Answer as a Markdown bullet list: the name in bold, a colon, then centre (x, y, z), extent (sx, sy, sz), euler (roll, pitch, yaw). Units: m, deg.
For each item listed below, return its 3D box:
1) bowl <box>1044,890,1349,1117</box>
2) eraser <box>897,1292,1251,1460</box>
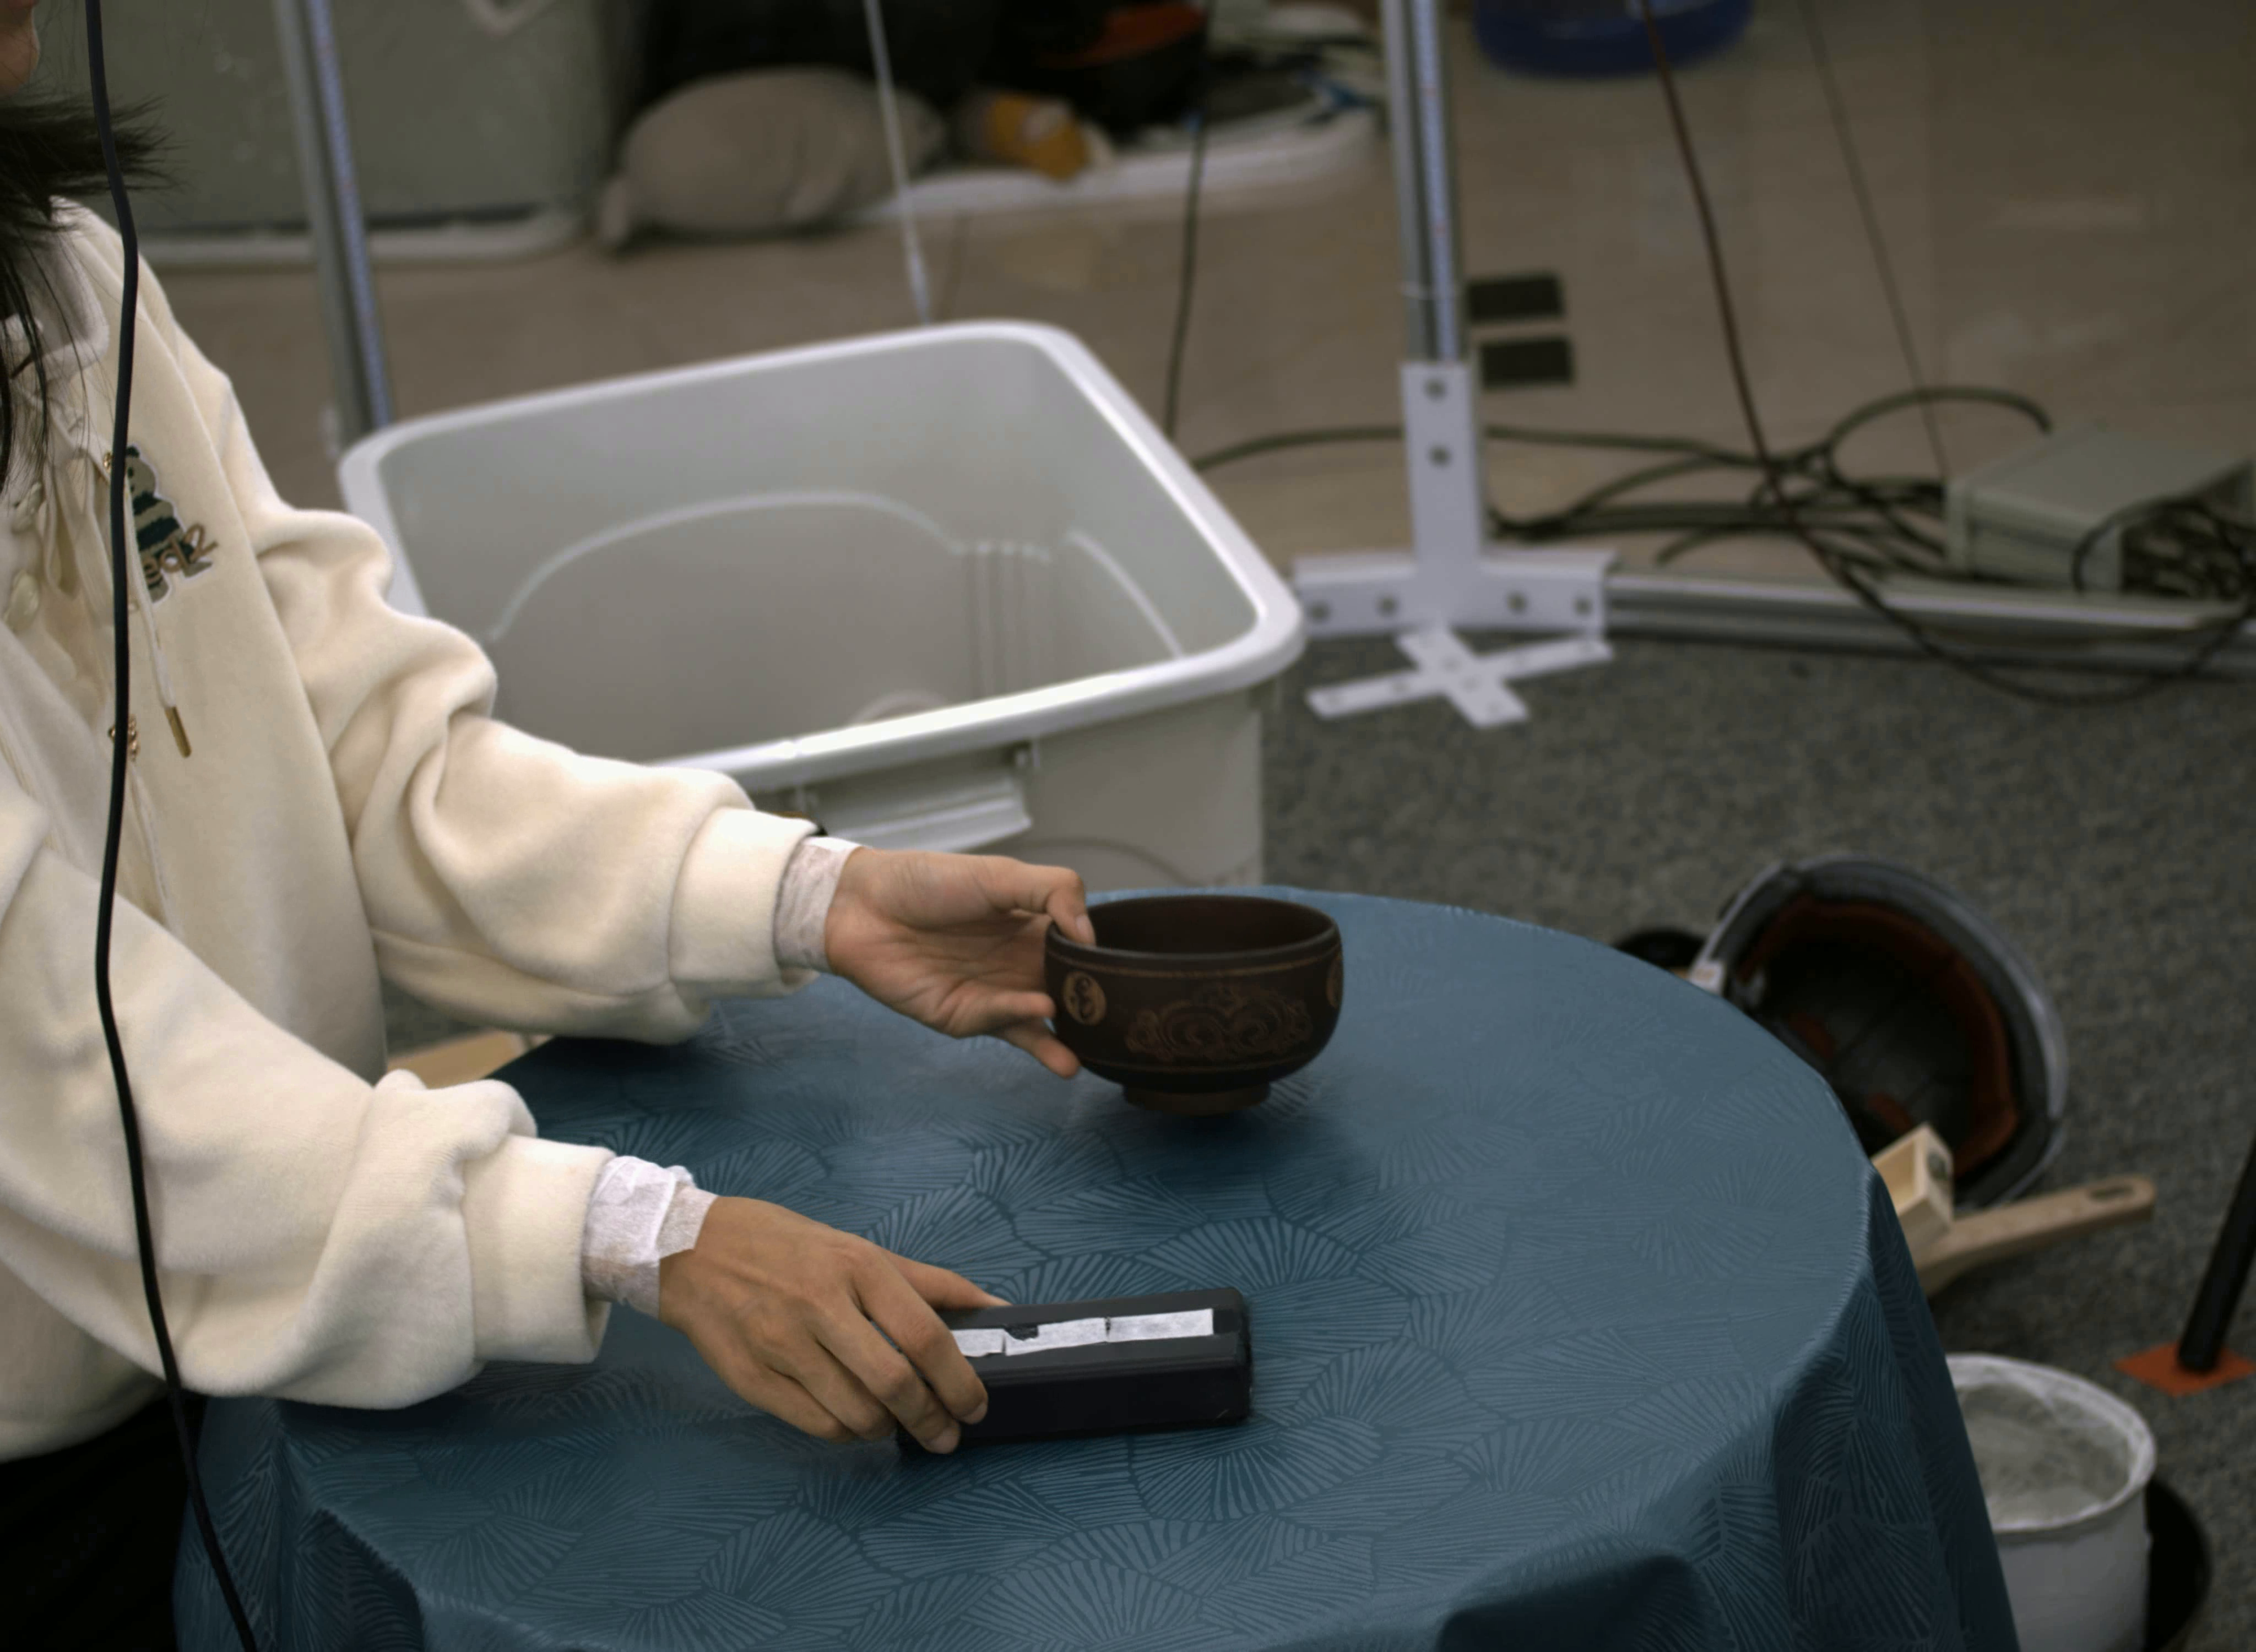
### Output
- **bowl**: centre (0.027, 0.071, 2.183), extent (0.118, 0.070, 0.117), euler (-3, 14, 1)
- **eraser**: centre (-0.017, 0.193, 2.003), extent (0.125, 0.031, 0.053), euler (-7, 26, 4)
